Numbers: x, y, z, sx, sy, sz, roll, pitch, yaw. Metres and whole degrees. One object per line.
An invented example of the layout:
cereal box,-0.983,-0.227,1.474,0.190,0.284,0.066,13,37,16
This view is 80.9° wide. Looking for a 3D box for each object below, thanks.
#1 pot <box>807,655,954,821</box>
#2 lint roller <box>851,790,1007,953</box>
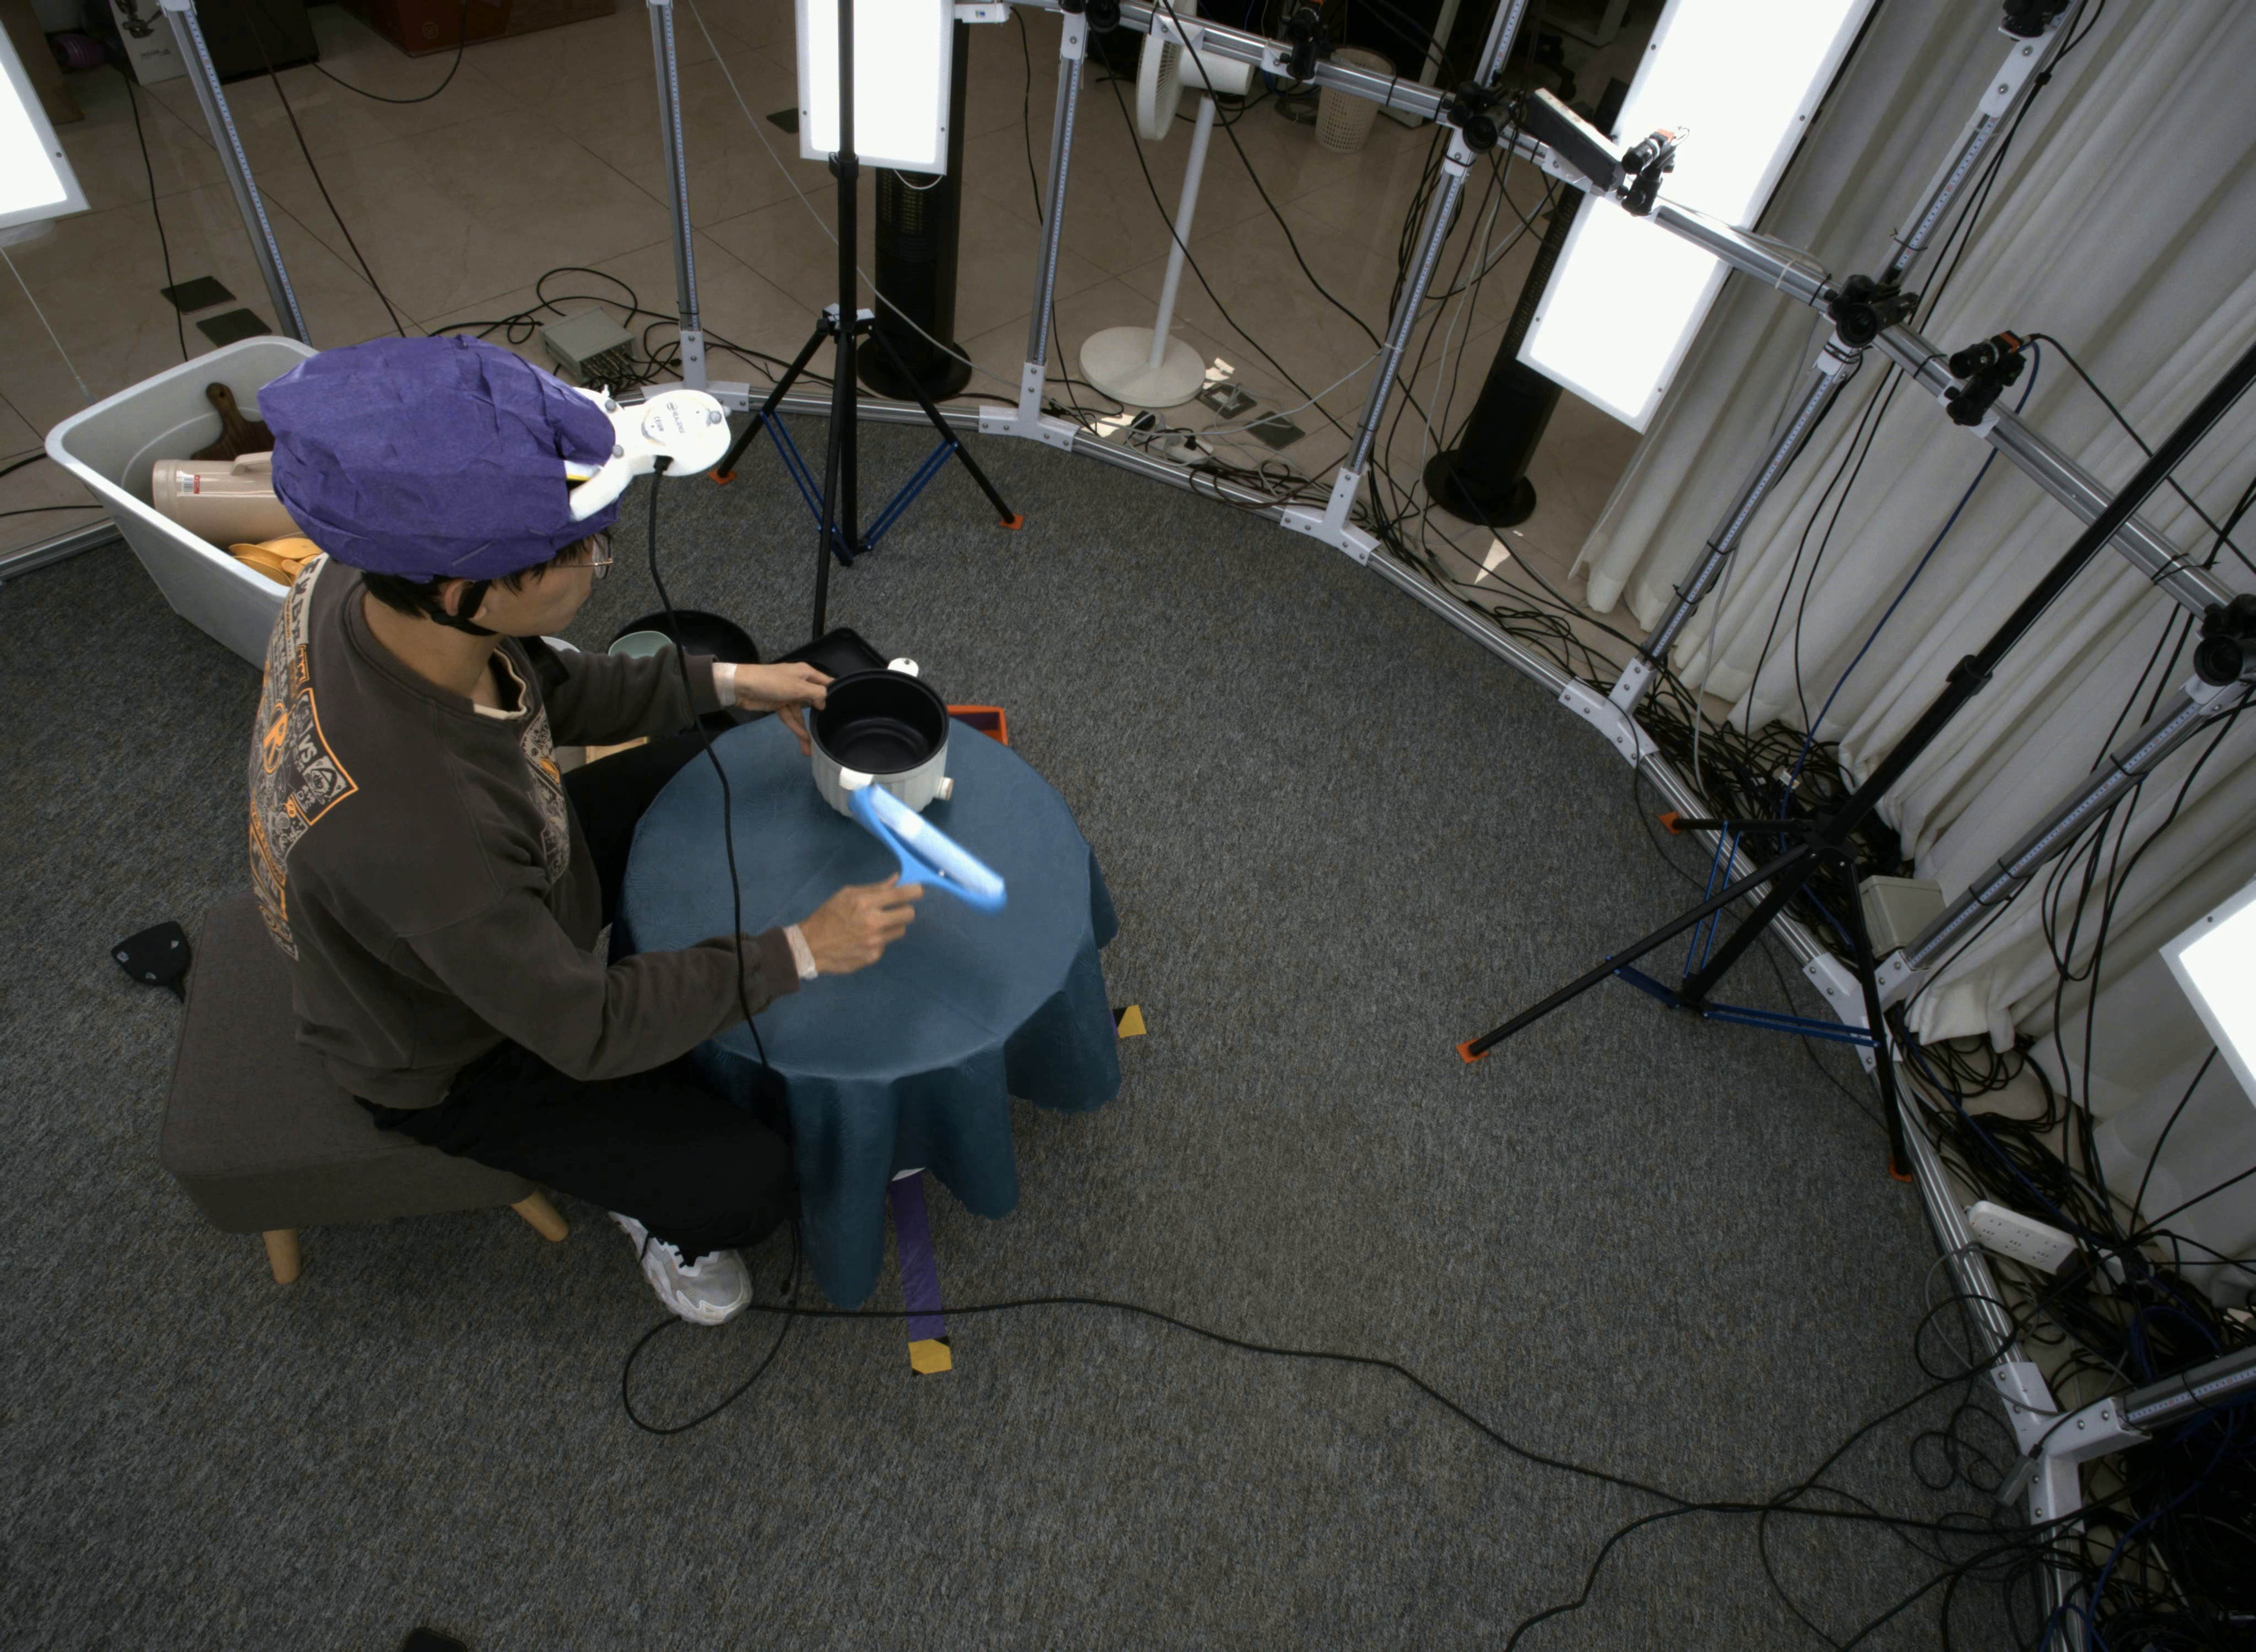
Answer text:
pot,-0.329,-0.100,1.745,0.188,0.146,0.237,12,53,1
lint roller,-0.261,0.074,1.540,0.232,0.067,0.179,40,46,-12
